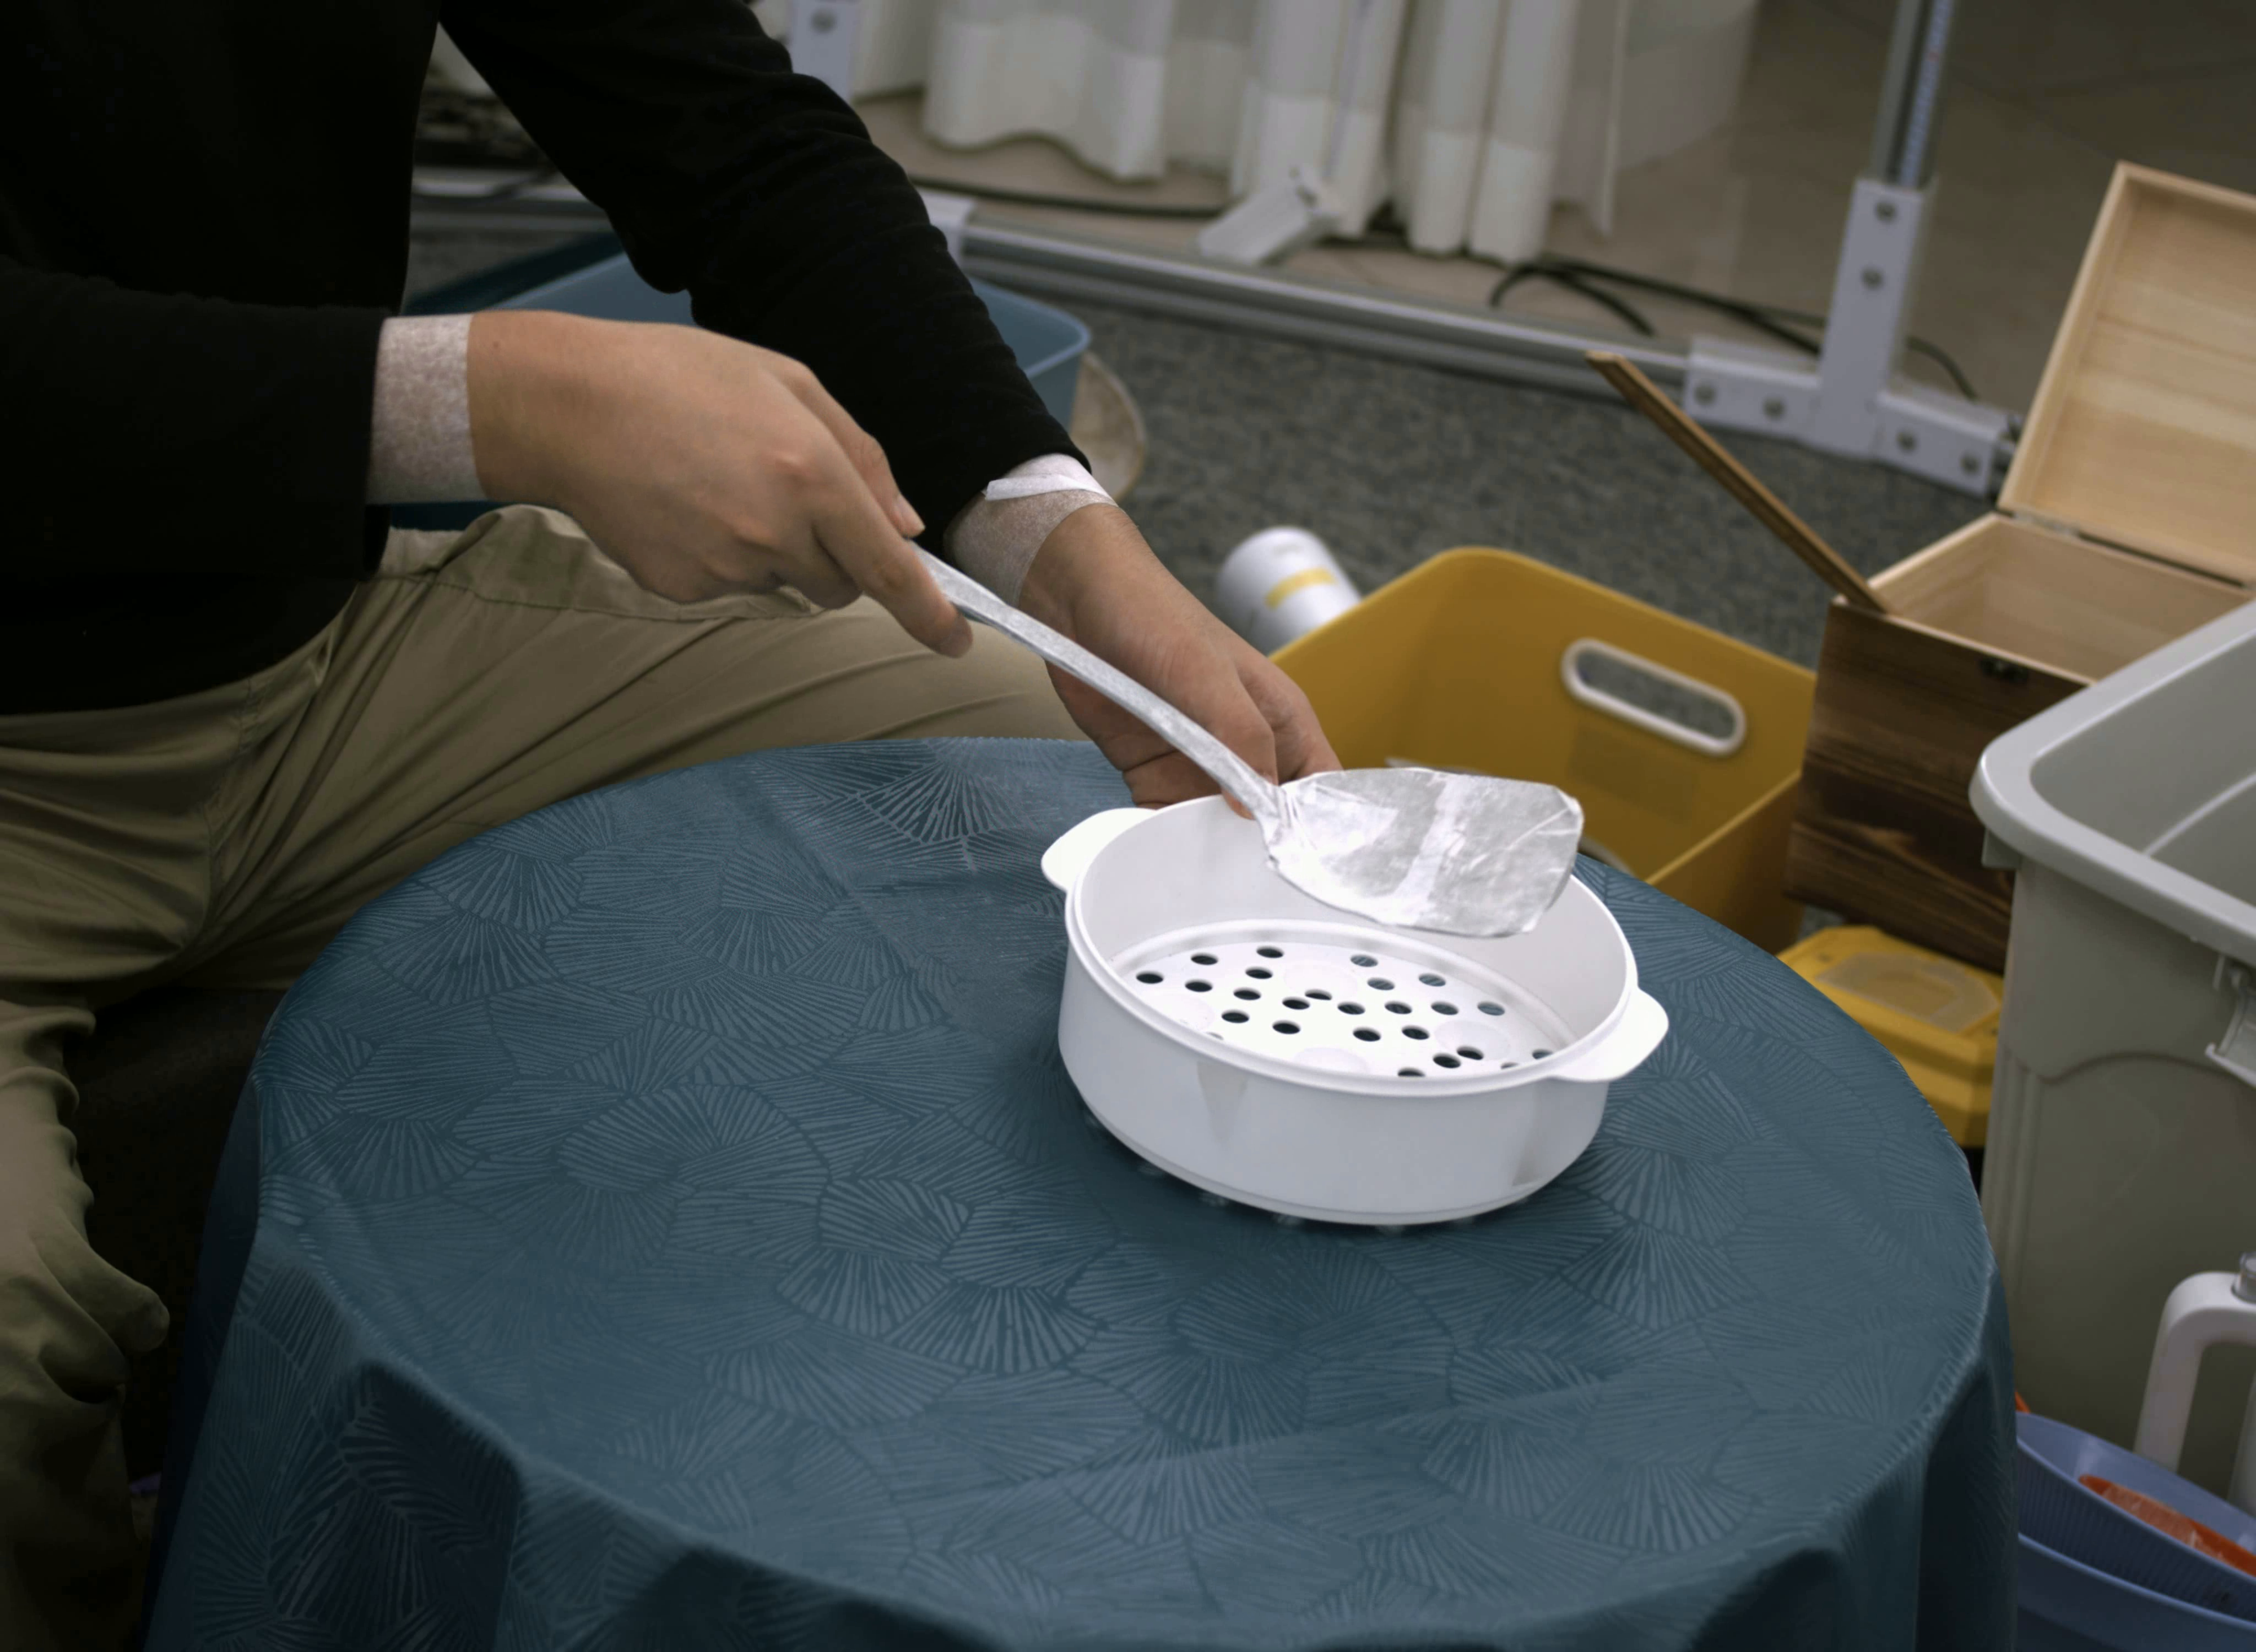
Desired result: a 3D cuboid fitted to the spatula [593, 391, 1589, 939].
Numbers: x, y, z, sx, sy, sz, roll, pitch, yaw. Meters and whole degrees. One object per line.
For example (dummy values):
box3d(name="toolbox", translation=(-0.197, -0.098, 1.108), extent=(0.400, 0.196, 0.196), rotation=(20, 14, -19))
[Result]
box3d(name="spatula", translation=(-0.018, -0.062, 1.754), extent=(0.364, 0.044, 0.099), rotation=(31, 39, 2))

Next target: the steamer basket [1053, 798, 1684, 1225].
box3d(name="steamer basket", translation=(0.079, 0.065, 1.854), extent=(0.231, 0.069, 0.201), rotation=(20, 30, 23))
